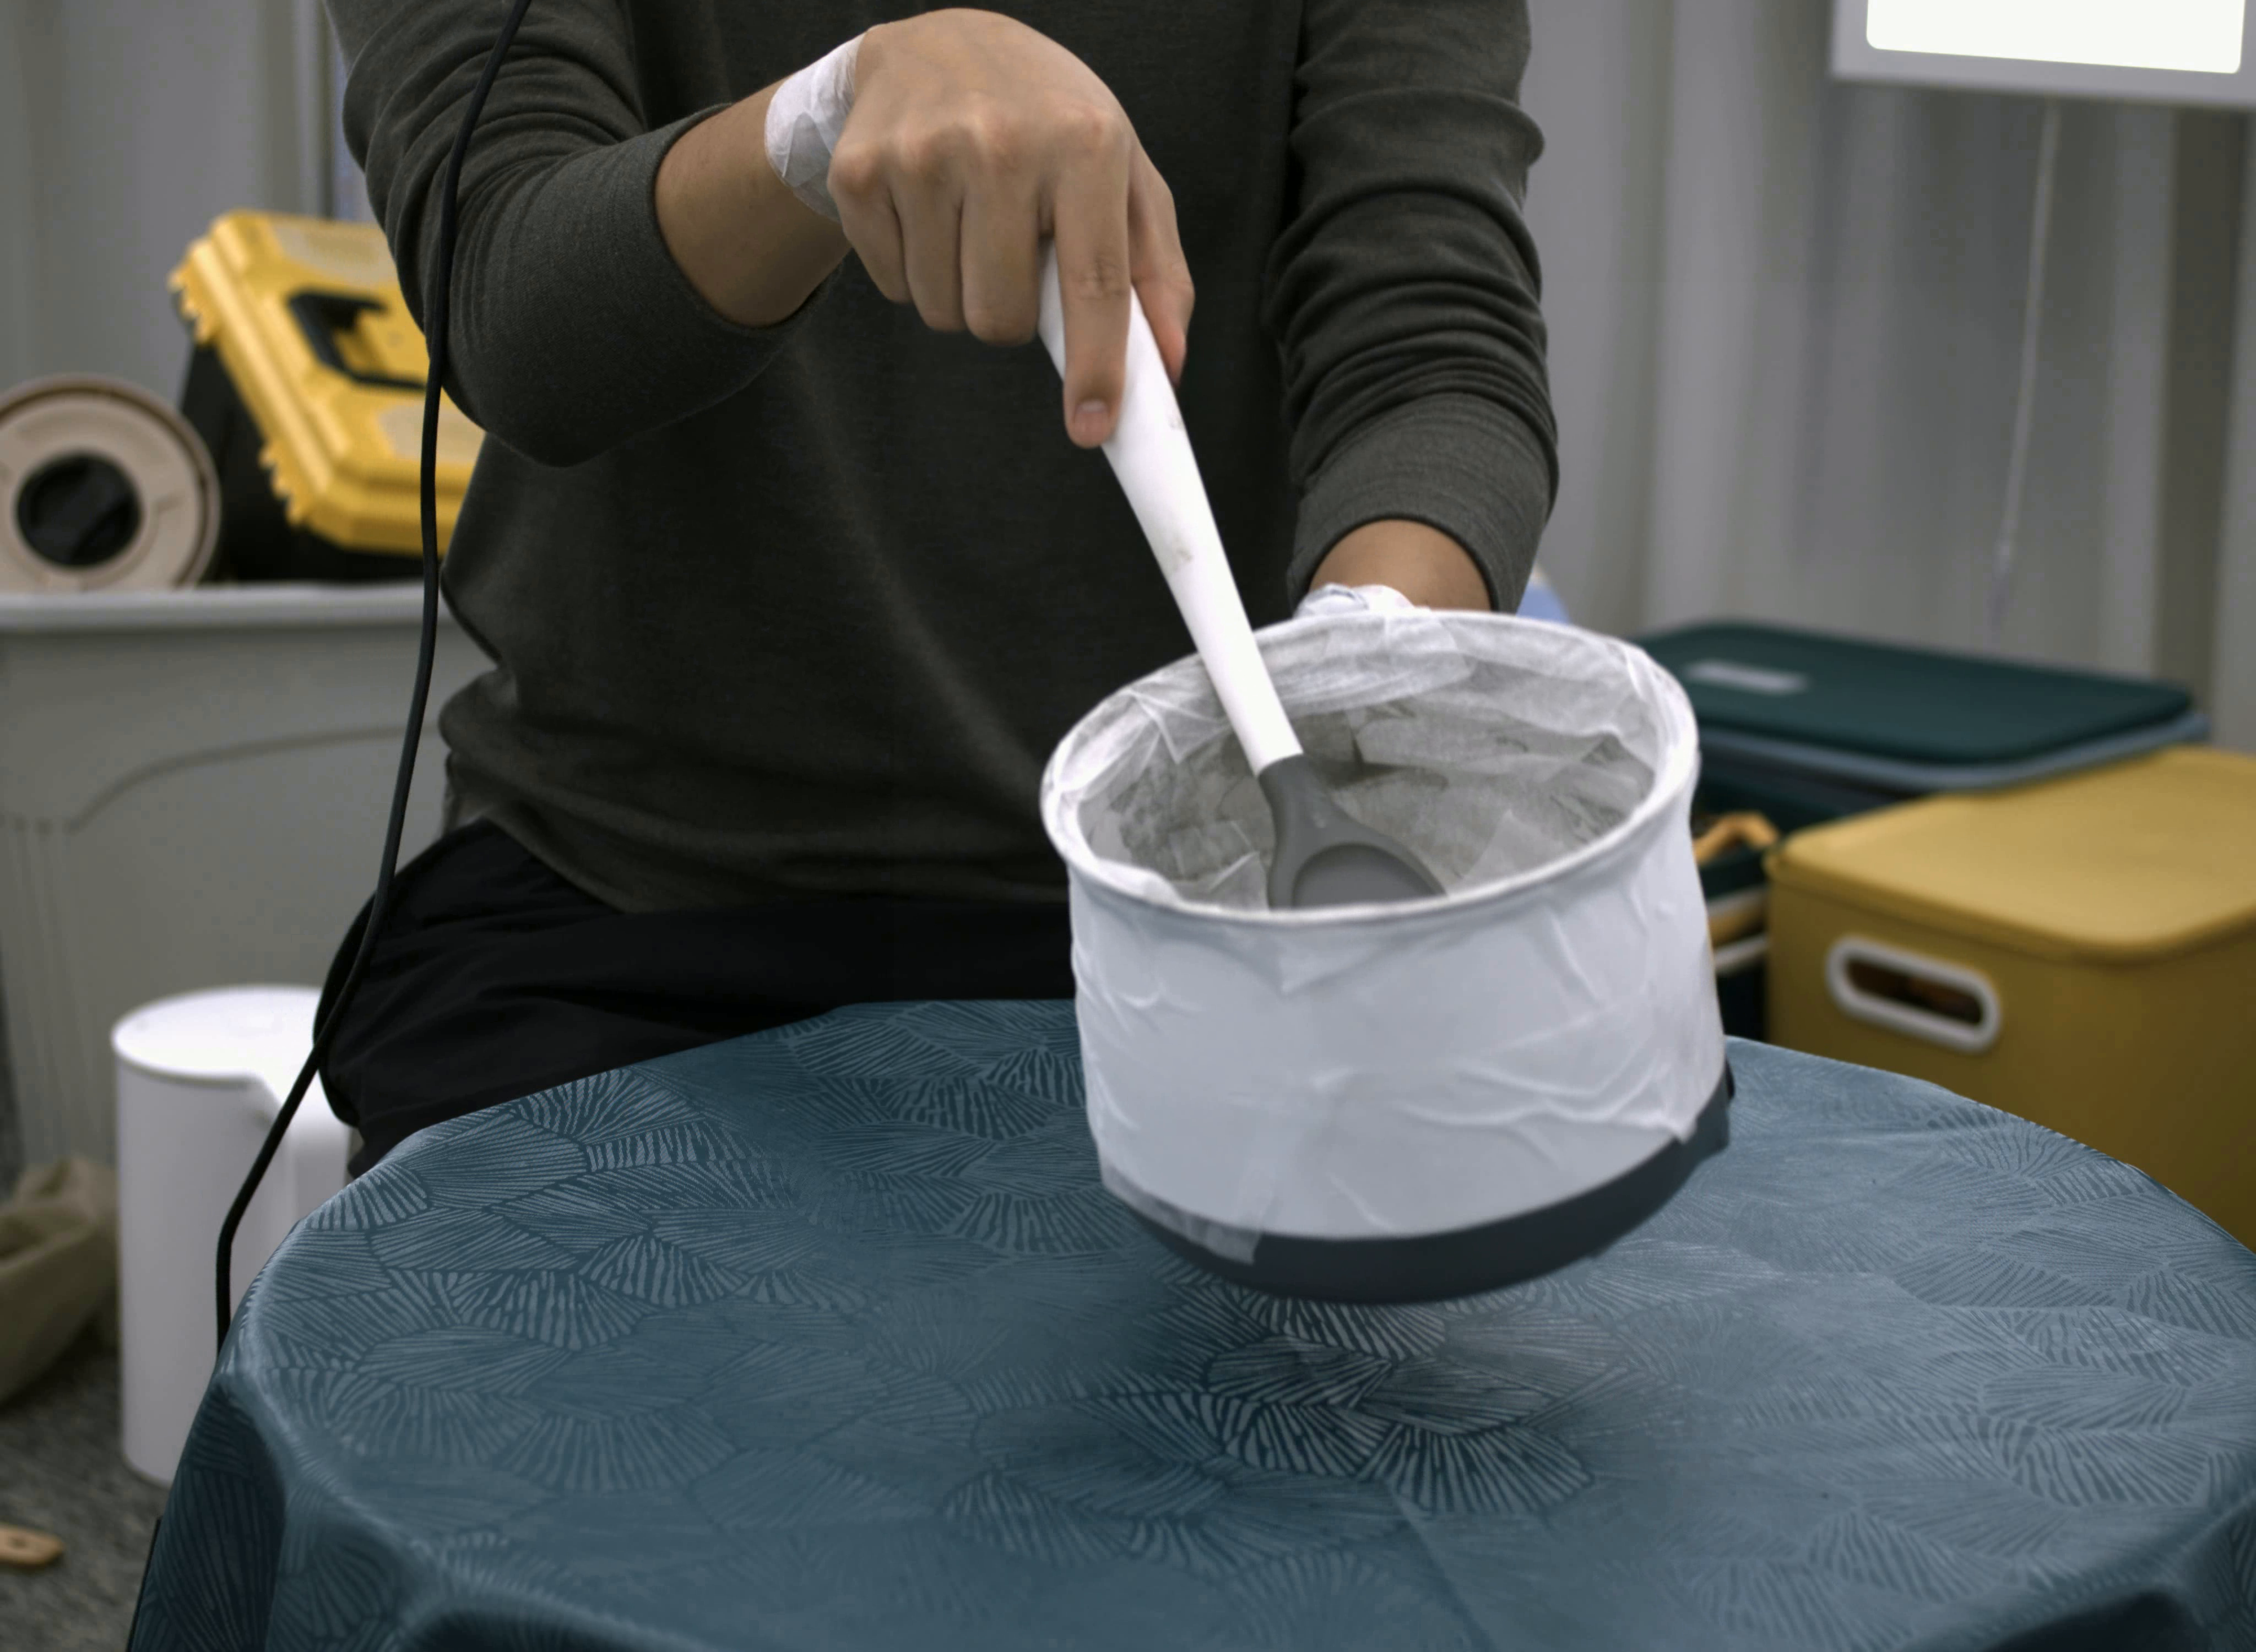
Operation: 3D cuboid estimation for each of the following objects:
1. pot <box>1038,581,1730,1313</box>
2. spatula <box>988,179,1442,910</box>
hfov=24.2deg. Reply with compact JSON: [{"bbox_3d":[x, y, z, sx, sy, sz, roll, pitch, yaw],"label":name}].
[{"bbox_3d":[0.069,0.025,1.449,0.178,0.138,0.231,-8,28,-1],"label":"pot"},{"bbox_3d":[0.029,-0.052,1.451,0.059,0.286,0.032,-16,-20,-22],"label":"spatula"}]
